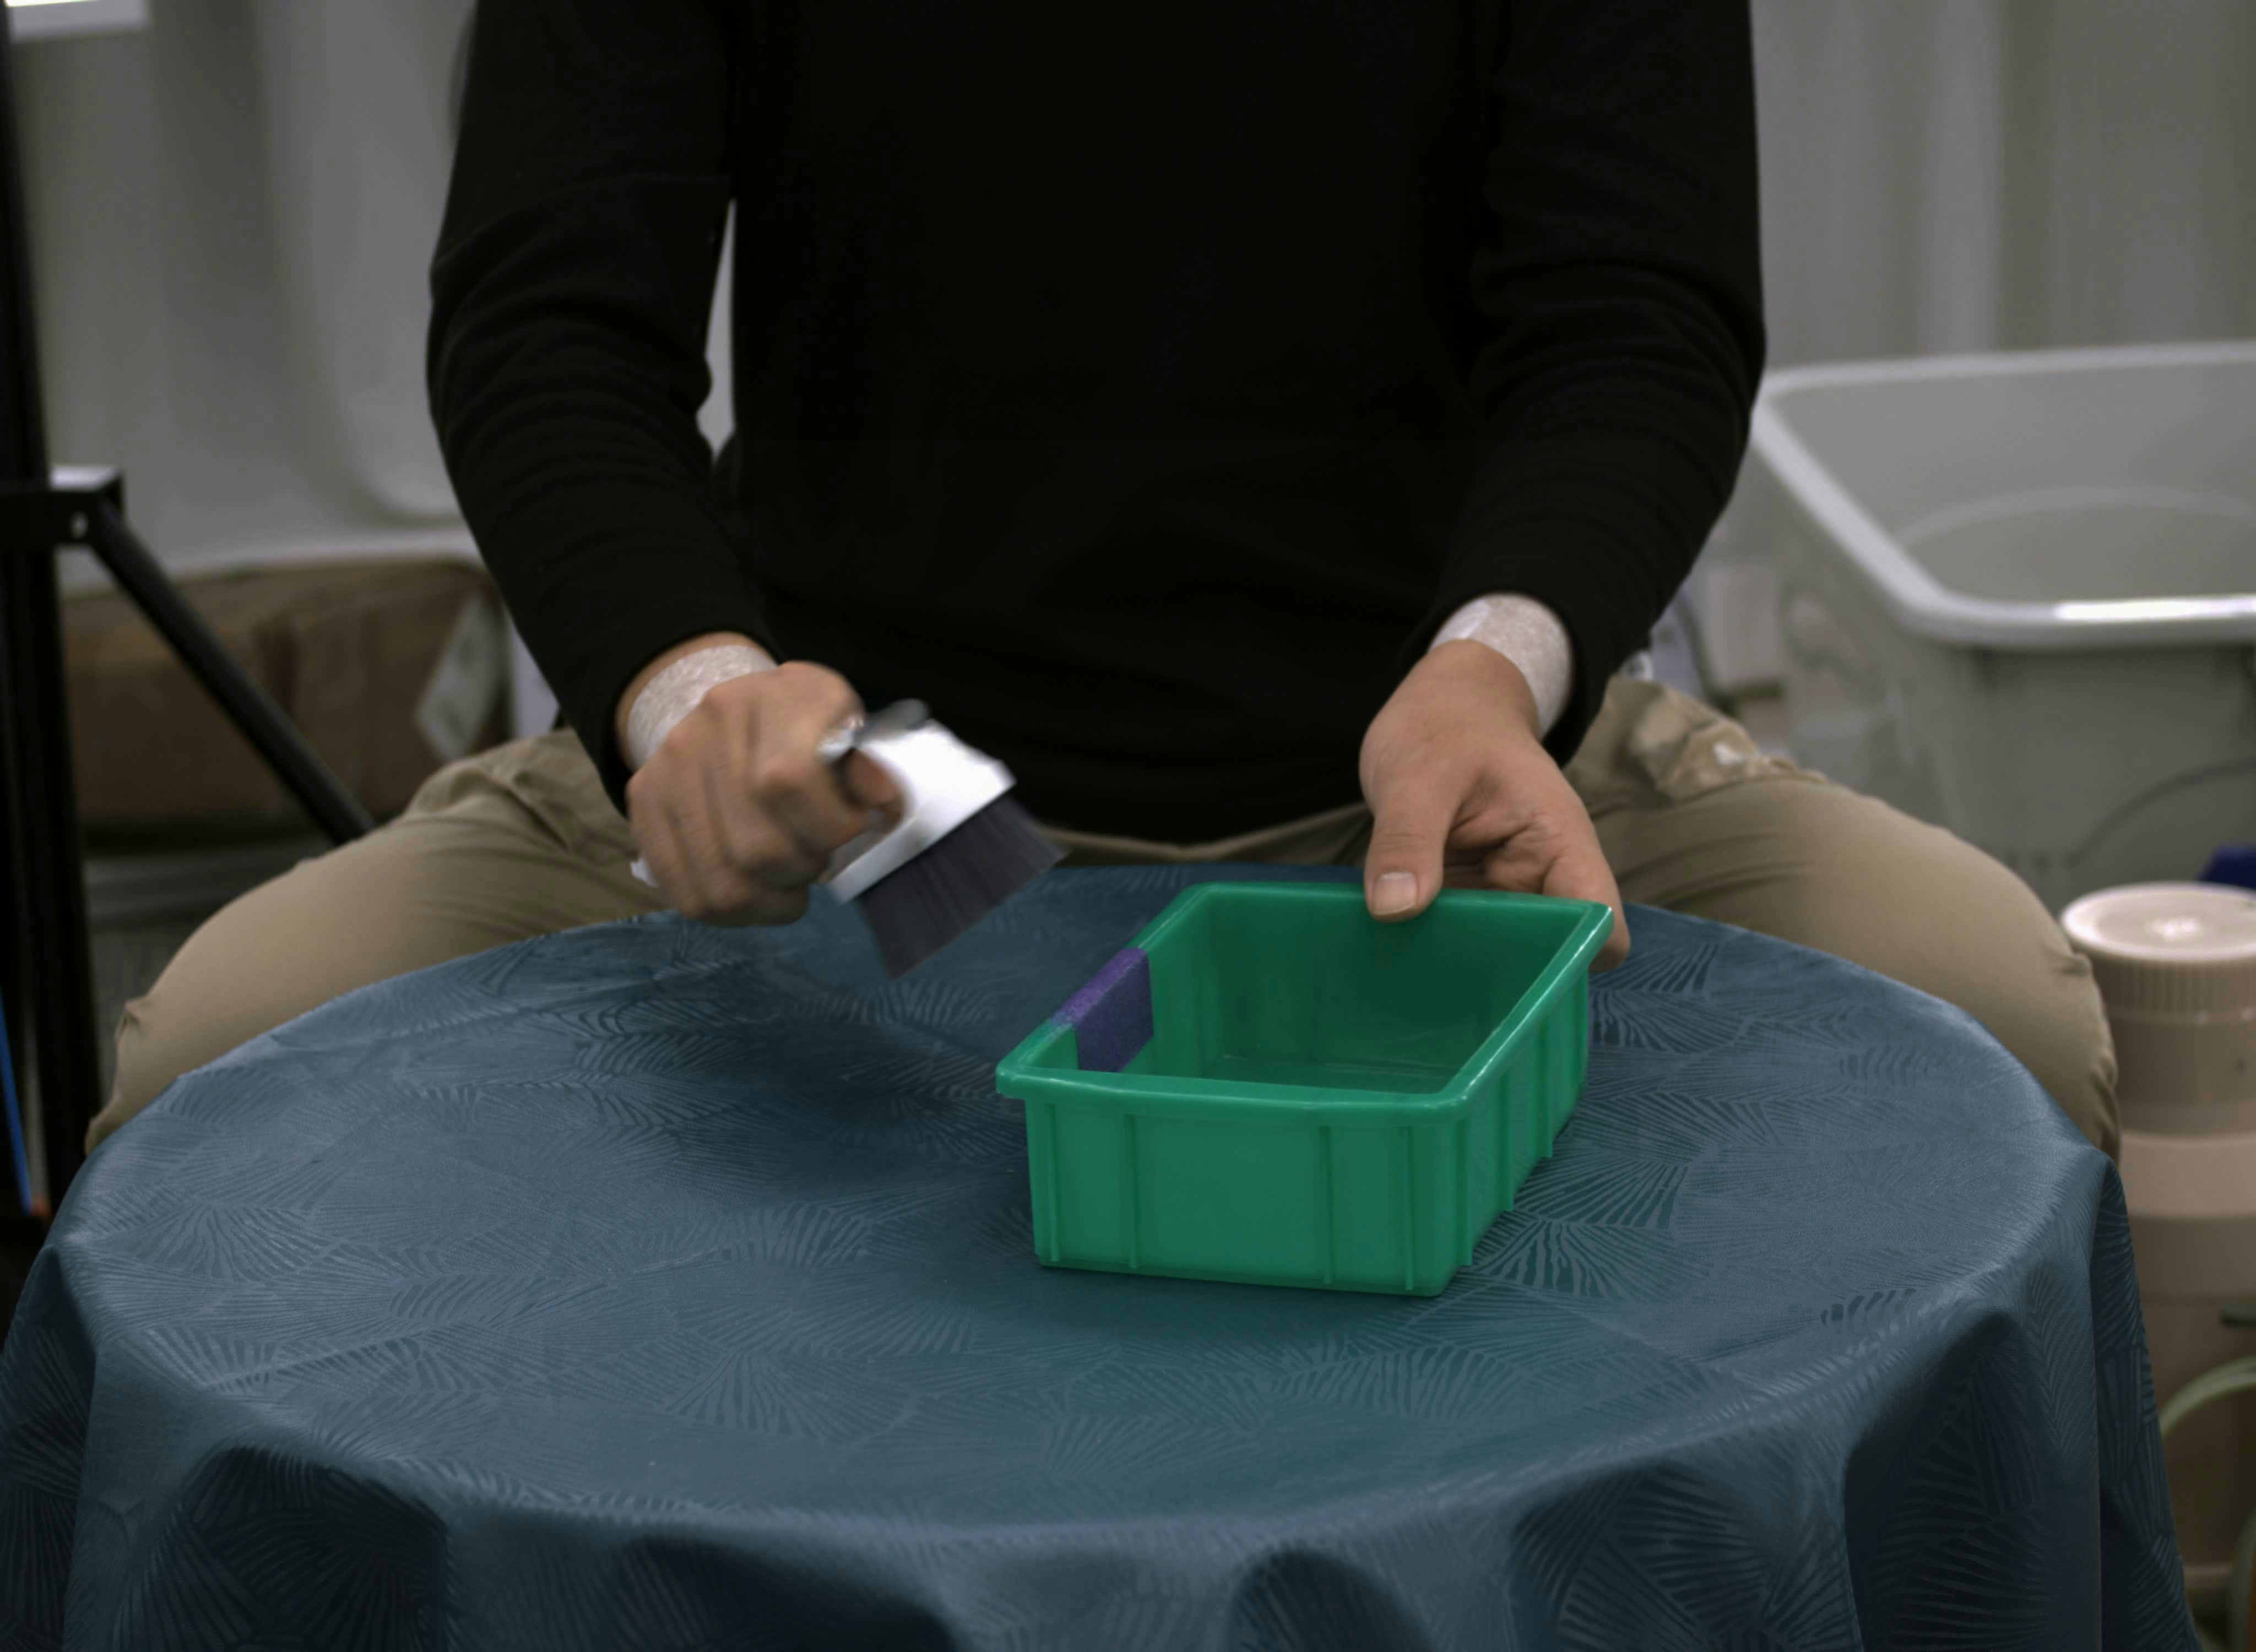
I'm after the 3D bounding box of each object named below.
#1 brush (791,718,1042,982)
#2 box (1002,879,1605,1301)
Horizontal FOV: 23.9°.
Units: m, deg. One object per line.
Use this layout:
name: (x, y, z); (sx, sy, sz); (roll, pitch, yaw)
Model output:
brush: (-0.072, 0.002, 1.612); (0.050, 0.072, 0.100); (-37, 0, -17)
box: (0.056, 0.076, 1.548); (0.140, 0.065, 0.208); (0, 17, 17)
